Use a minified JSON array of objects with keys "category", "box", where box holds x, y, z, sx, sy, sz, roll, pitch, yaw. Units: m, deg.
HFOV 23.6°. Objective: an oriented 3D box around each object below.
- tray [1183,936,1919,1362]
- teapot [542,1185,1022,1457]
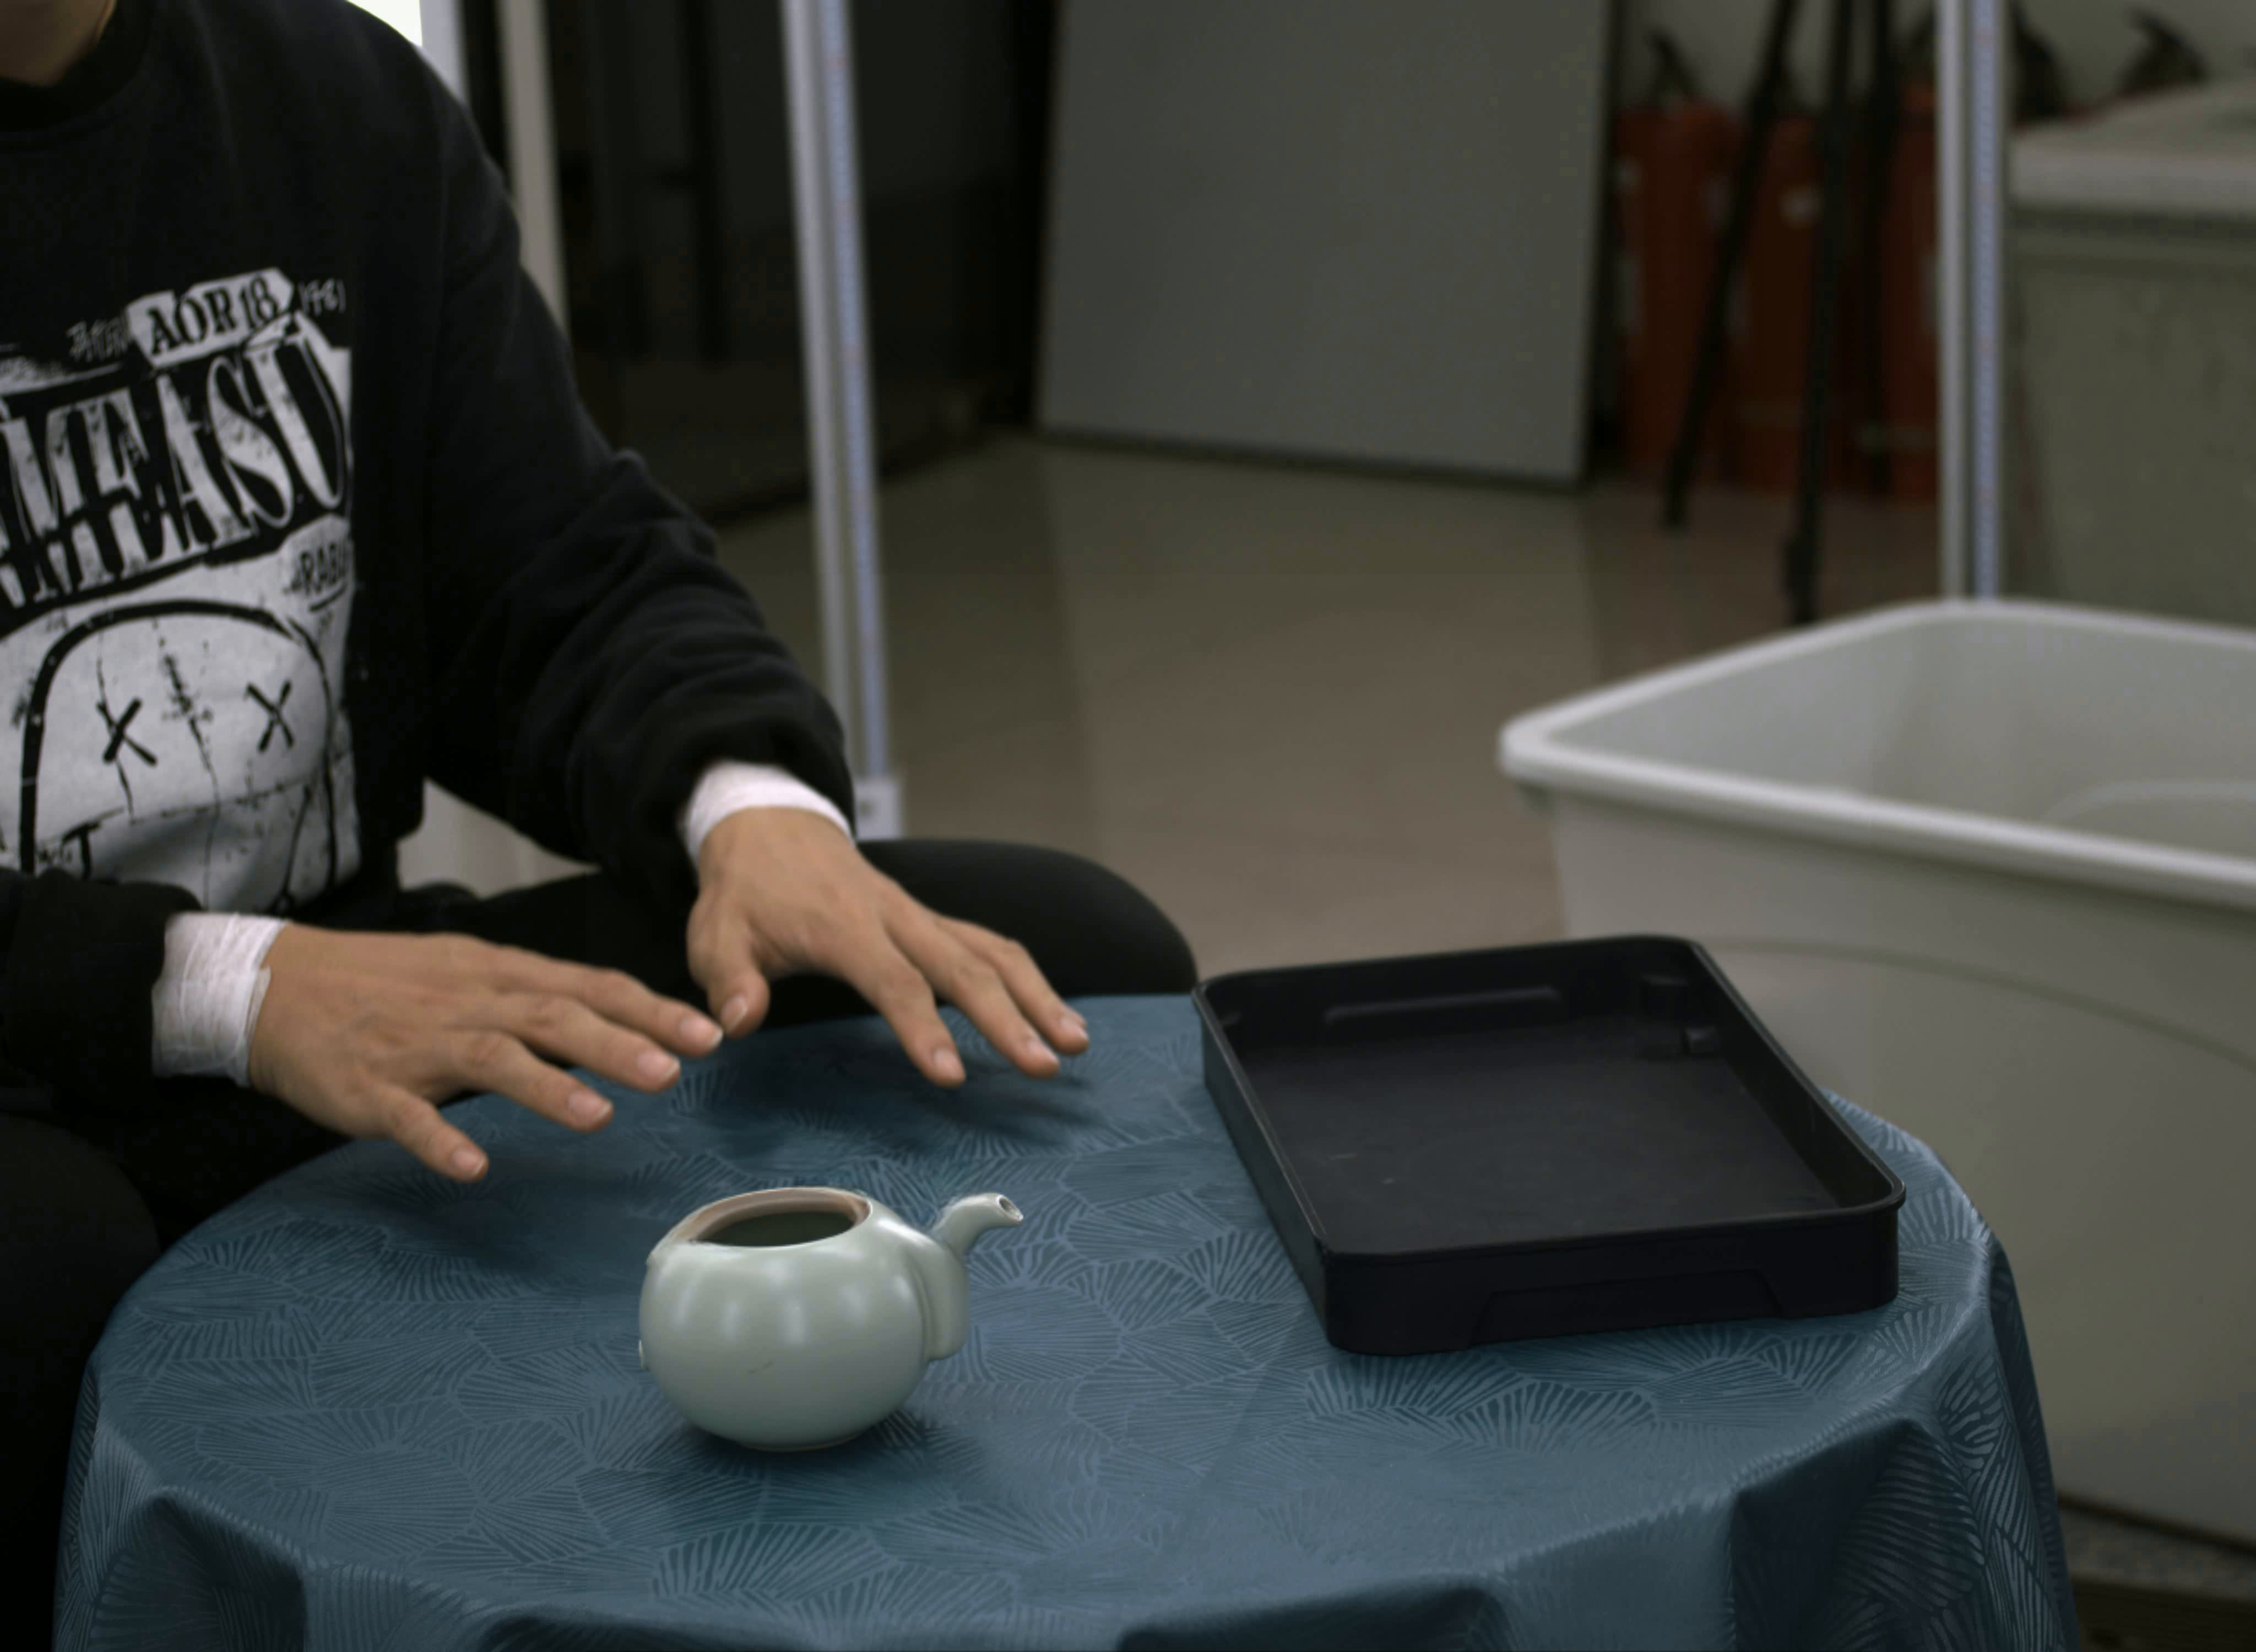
[{"category":"tray","box":[0.130,0.099,1.747,0.181,0.037,0.319,-6,14,-7]},{"category":"teapot","box":[-0.099,0.142,1.571,0.143,0.075,0.088,1,14,11]}]
